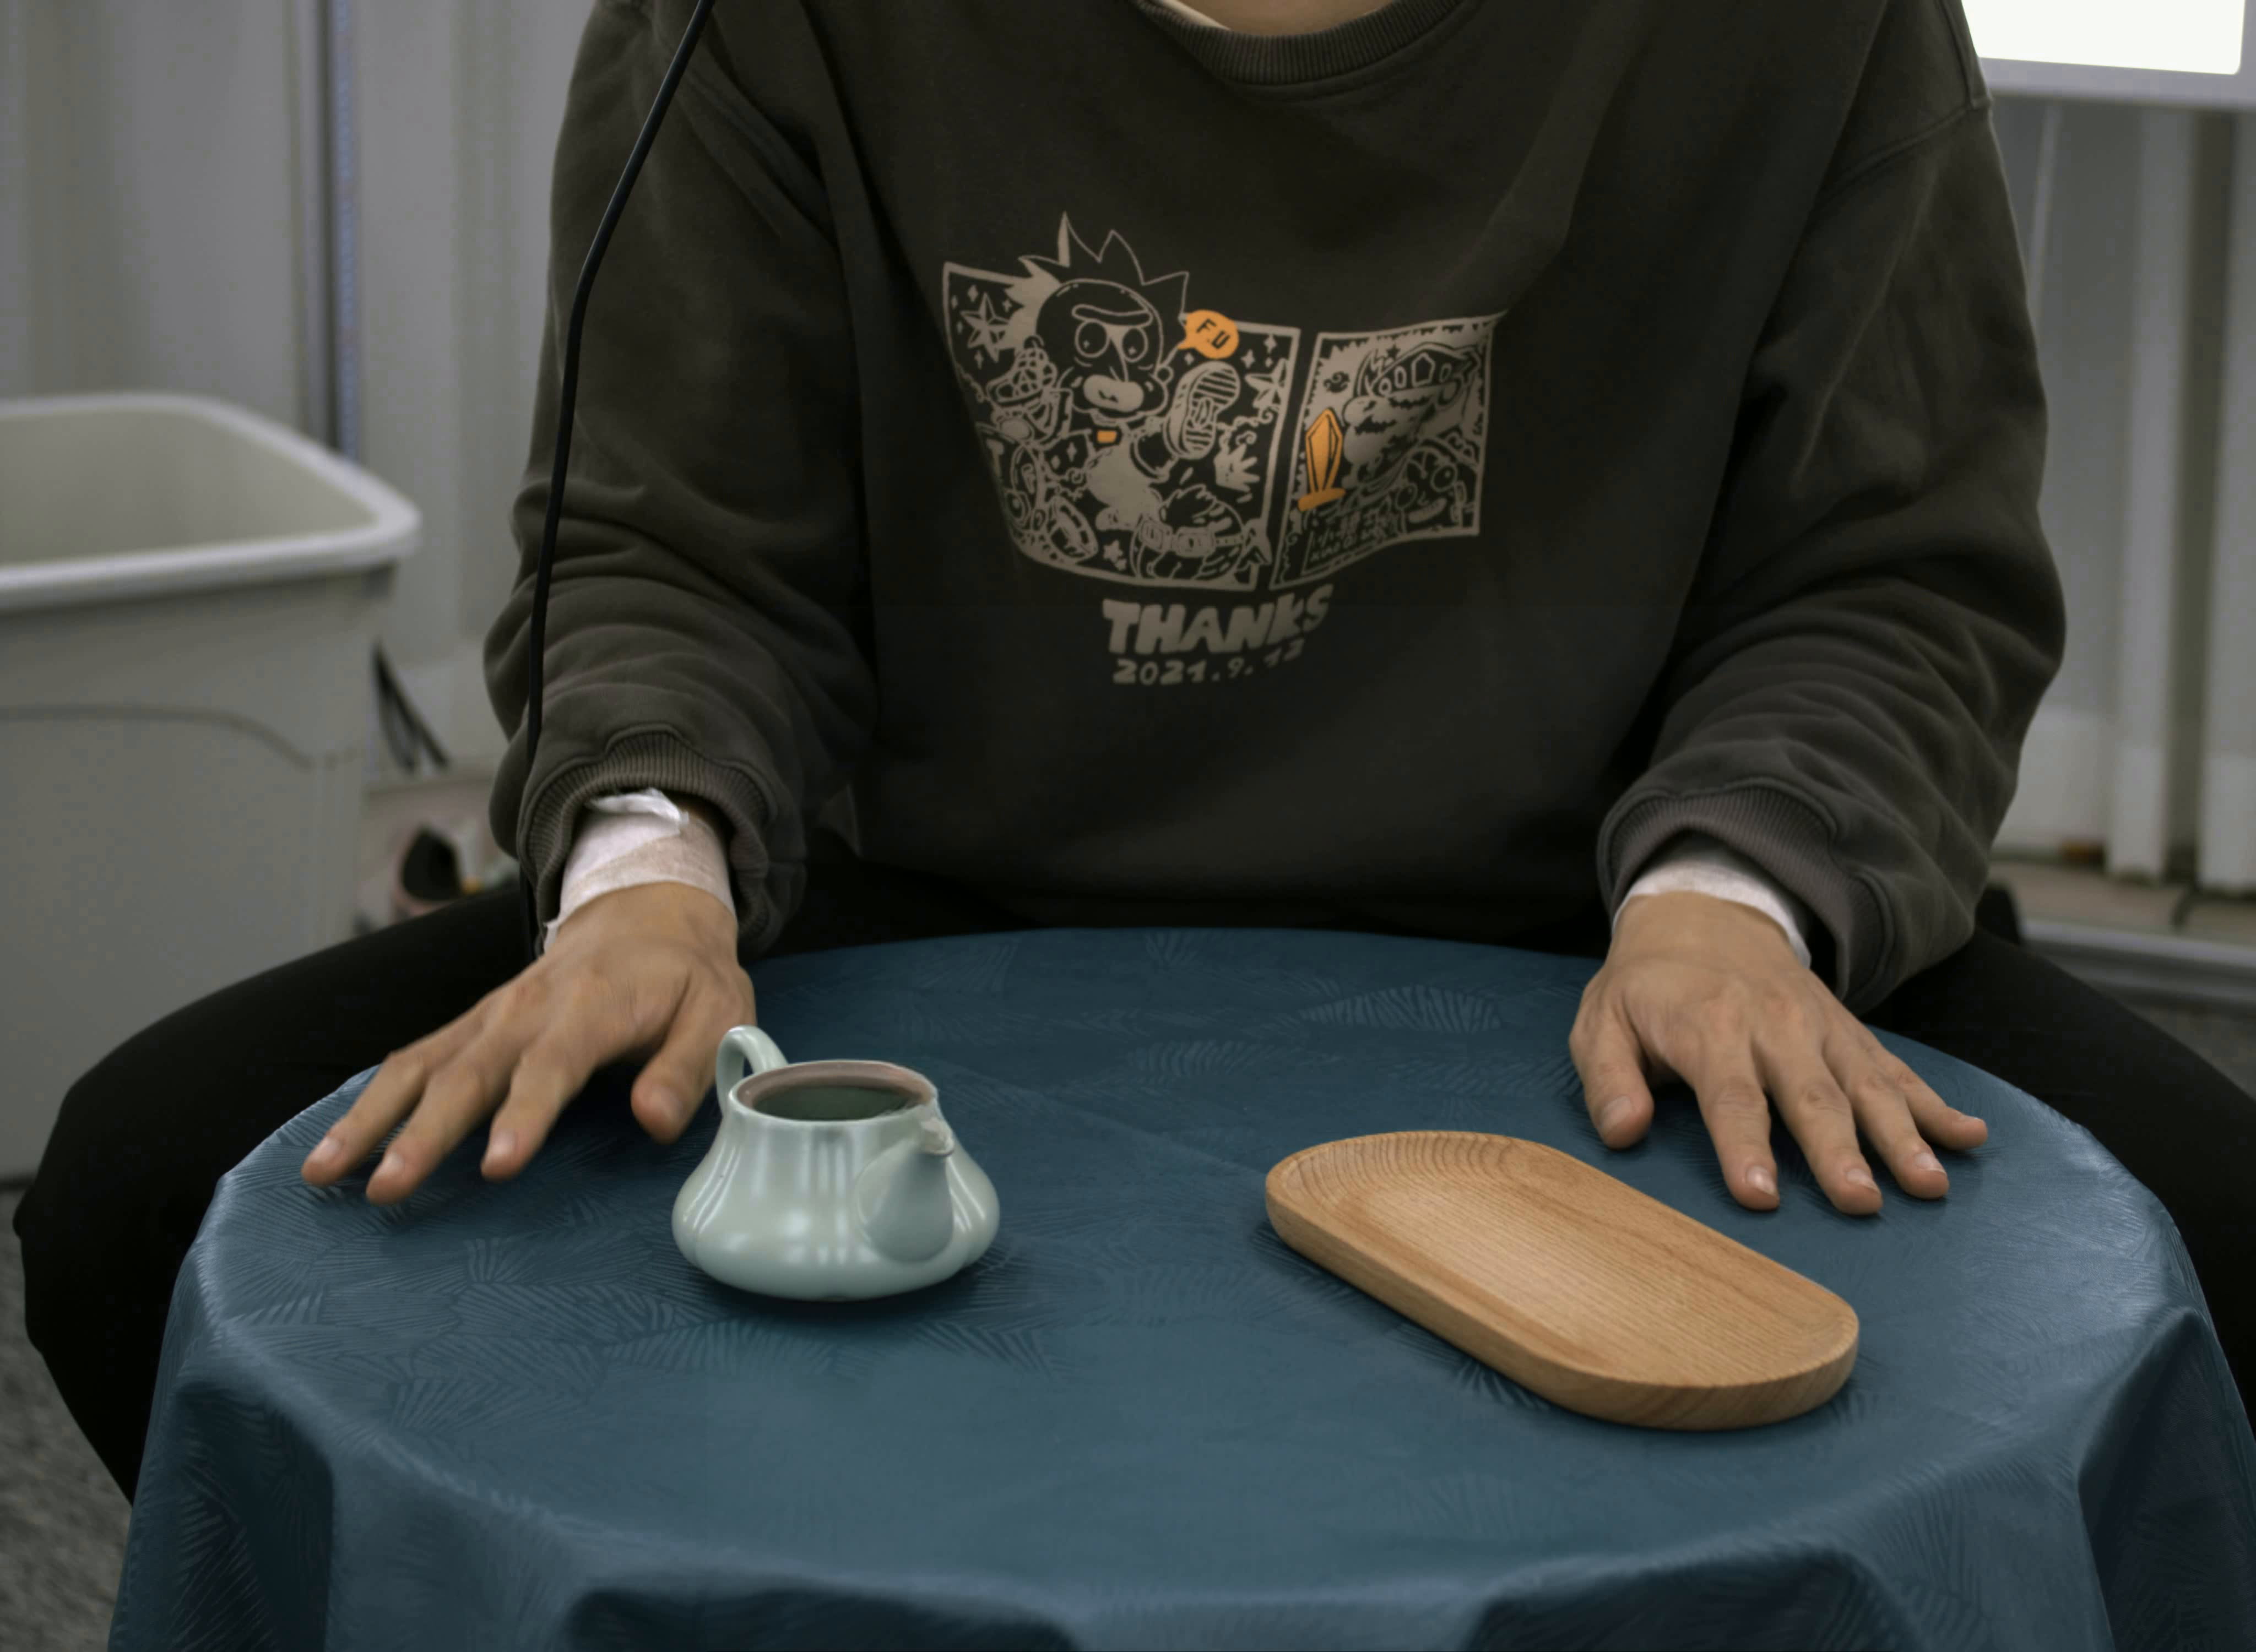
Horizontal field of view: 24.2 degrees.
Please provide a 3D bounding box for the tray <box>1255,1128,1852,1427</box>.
[{"bbox_3d":[0.121,0.130,1.541,0.102,0.020,0.228,-8,17,-29],"label":"tray"}]

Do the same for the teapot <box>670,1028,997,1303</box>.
[{"bbox_3d":[-0.089,0.102,1.553,0.096,0.062,0.135,-12,20,-34],"label":"teapot"}]
